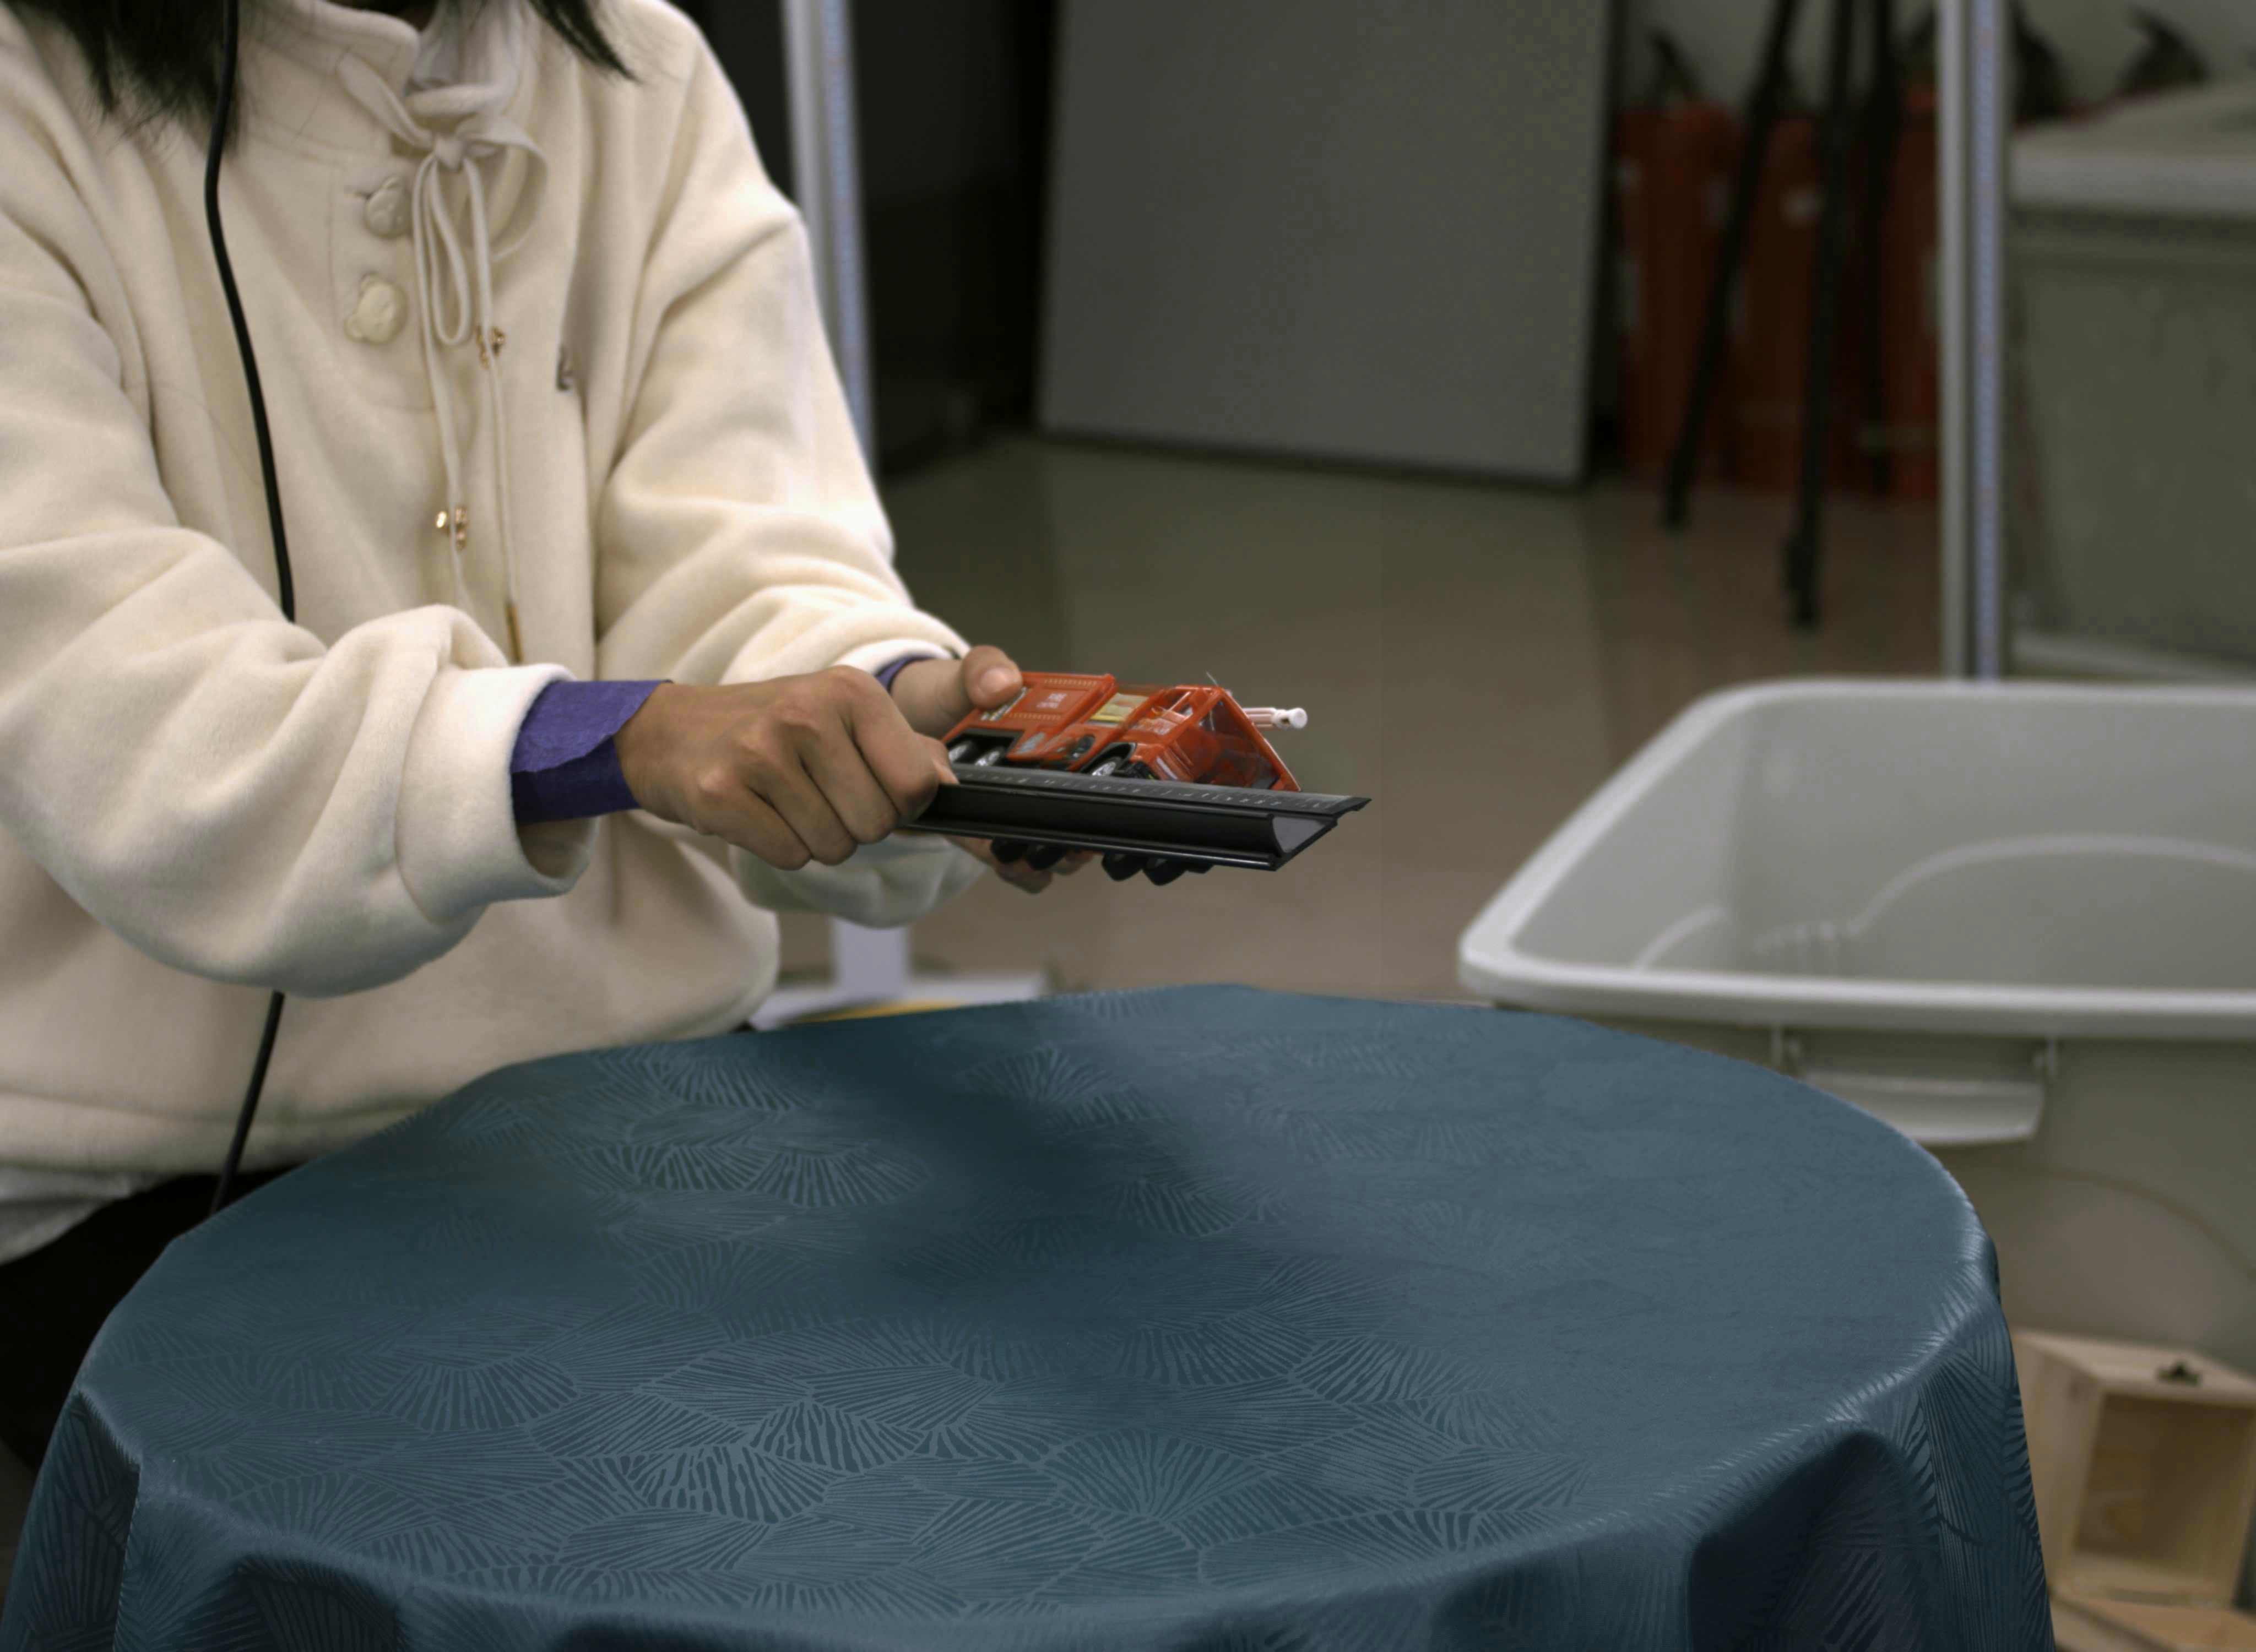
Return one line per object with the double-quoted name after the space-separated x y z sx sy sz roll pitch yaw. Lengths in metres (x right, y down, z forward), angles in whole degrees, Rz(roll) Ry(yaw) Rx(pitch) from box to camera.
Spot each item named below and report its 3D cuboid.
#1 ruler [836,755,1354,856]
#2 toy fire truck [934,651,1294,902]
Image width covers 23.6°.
-0.017 -0.013 1.672 0.039 0.017 0.315 -33 15 -21 "ruler"
-0.007 -0.018 1.763 0.070 0.054 0.169 -46 19 -19 "toy fire truck"
